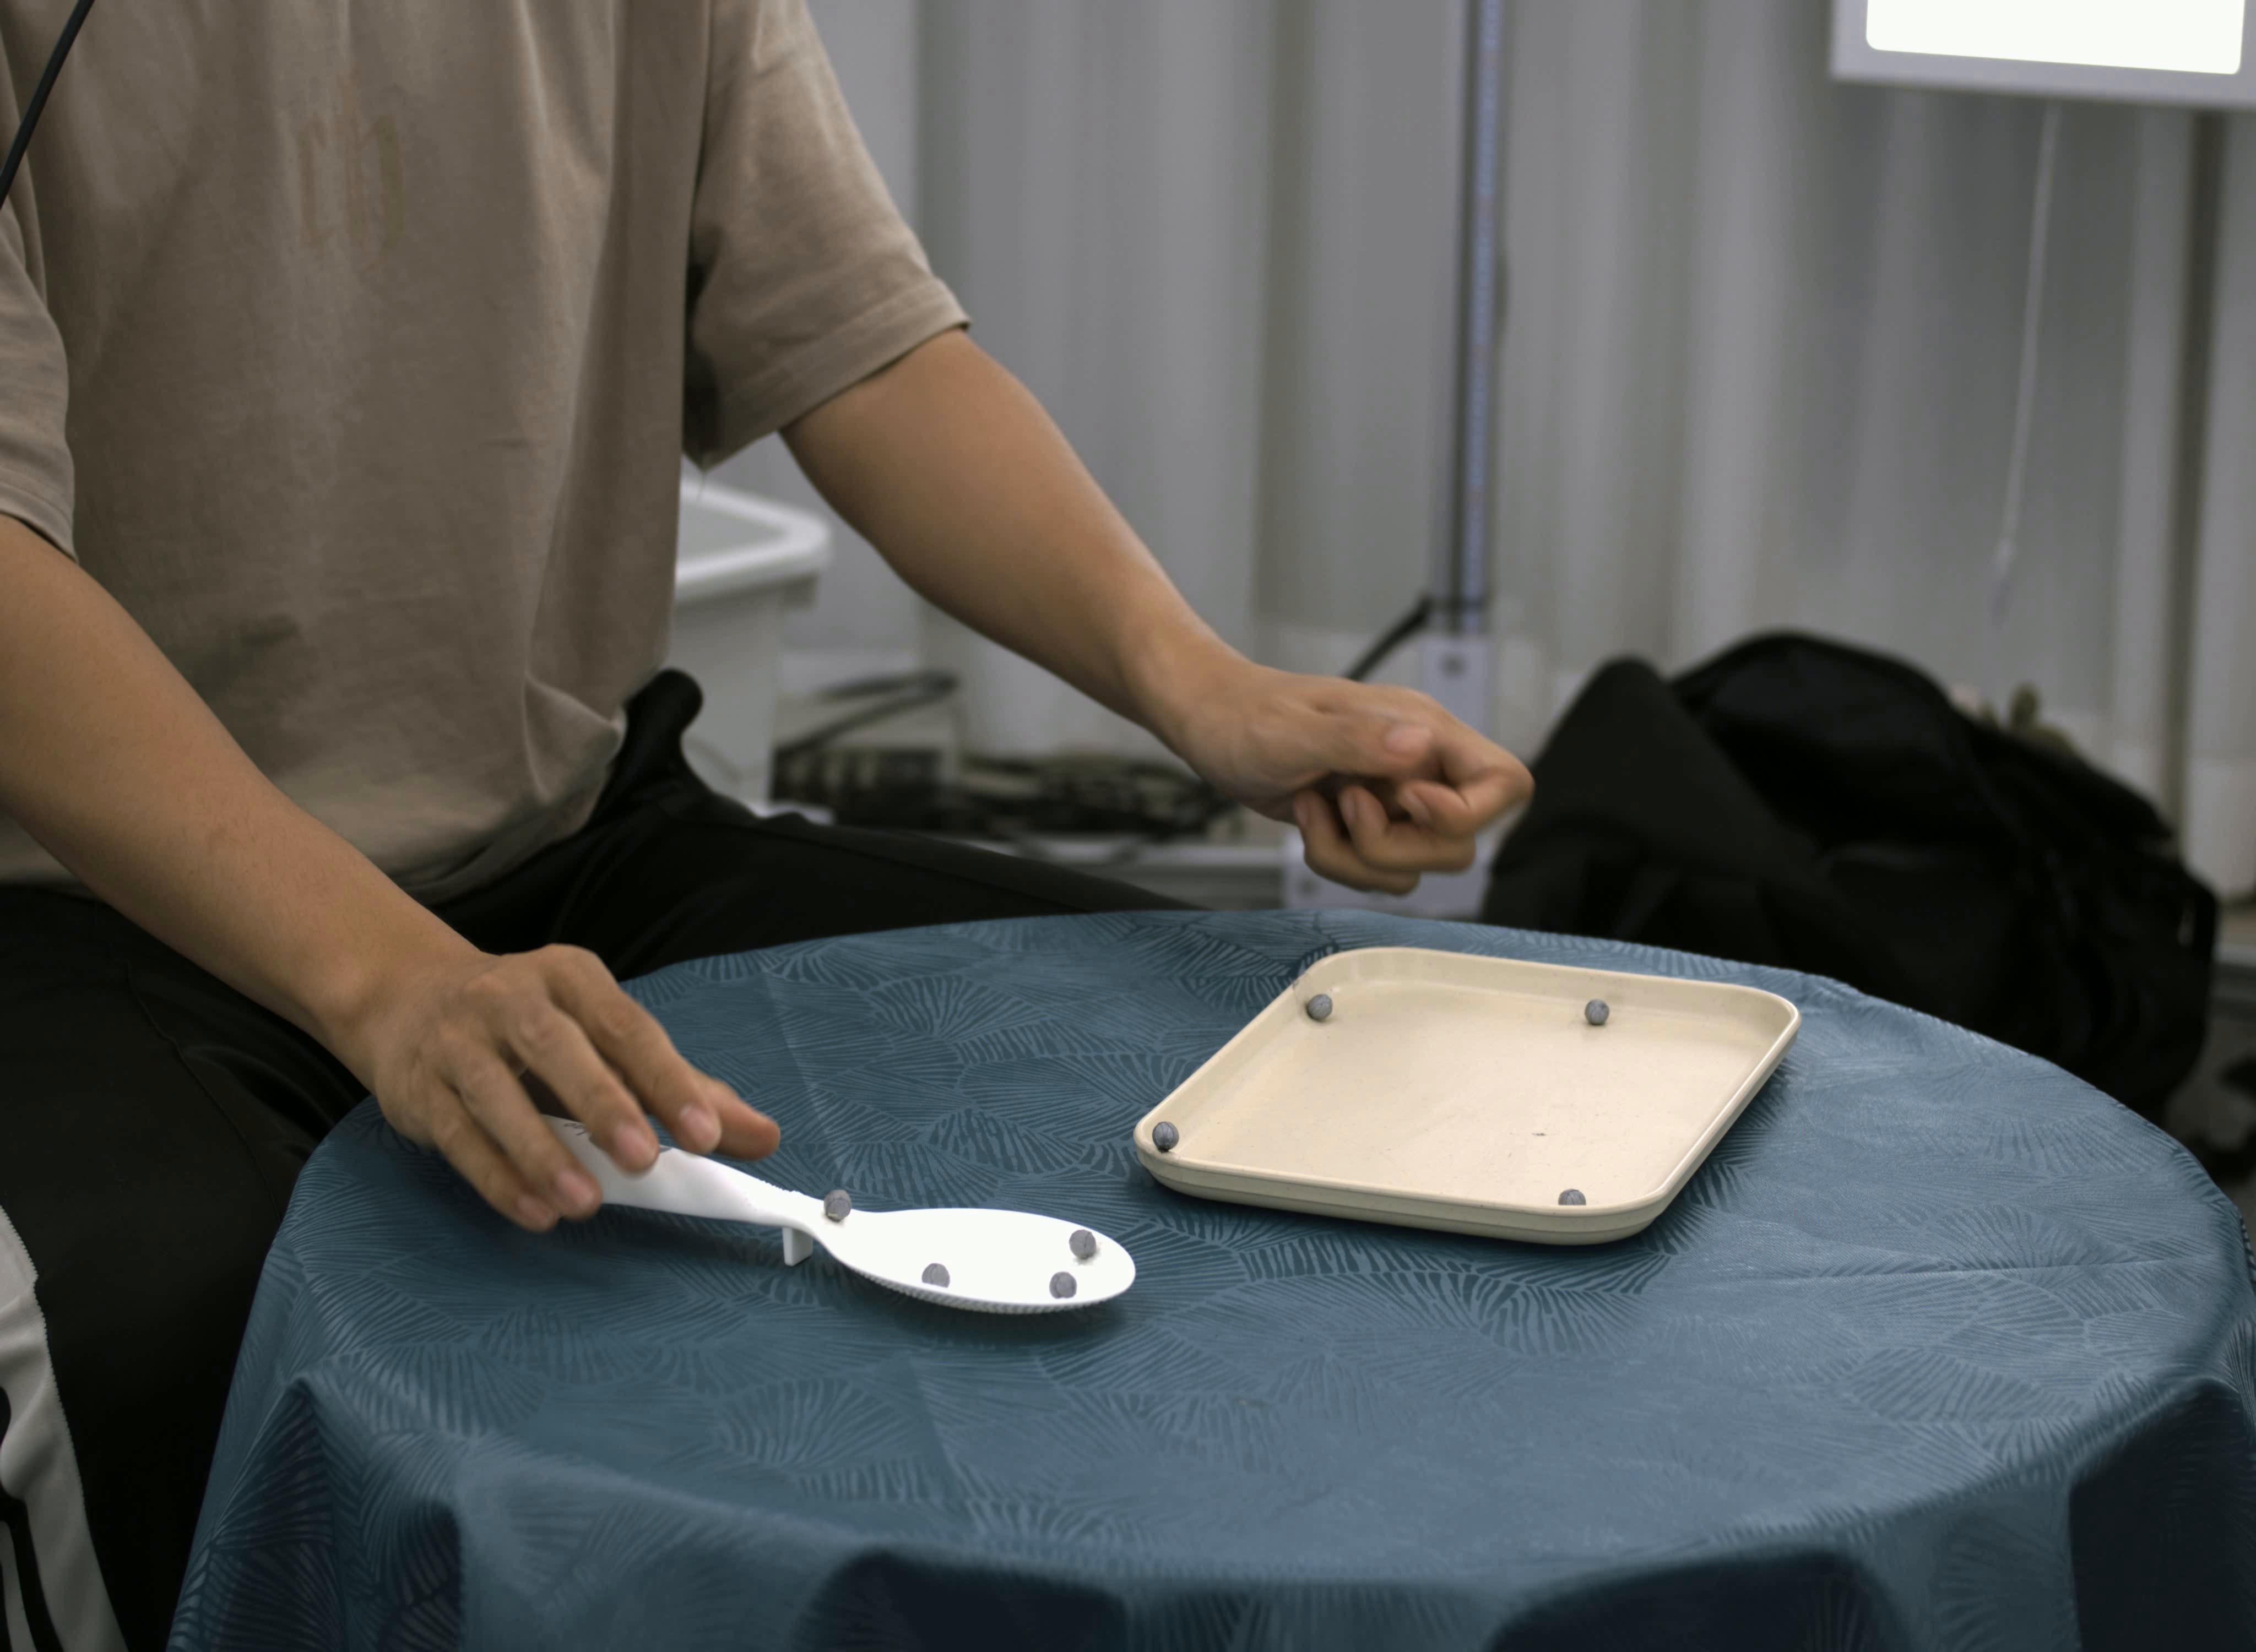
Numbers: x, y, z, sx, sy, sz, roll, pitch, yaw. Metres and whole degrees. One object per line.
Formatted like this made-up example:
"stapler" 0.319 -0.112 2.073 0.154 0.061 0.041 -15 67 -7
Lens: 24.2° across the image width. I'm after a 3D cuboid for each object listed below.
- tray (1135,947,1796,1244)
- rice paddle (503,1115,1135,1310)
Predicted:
"tray" 0.112 0.086 1.695 0.170 0.017 0.240 7 17 18
"rice paddle" -0.091 0.115 1.553 0.203 0.029 0.069 9 19 26
